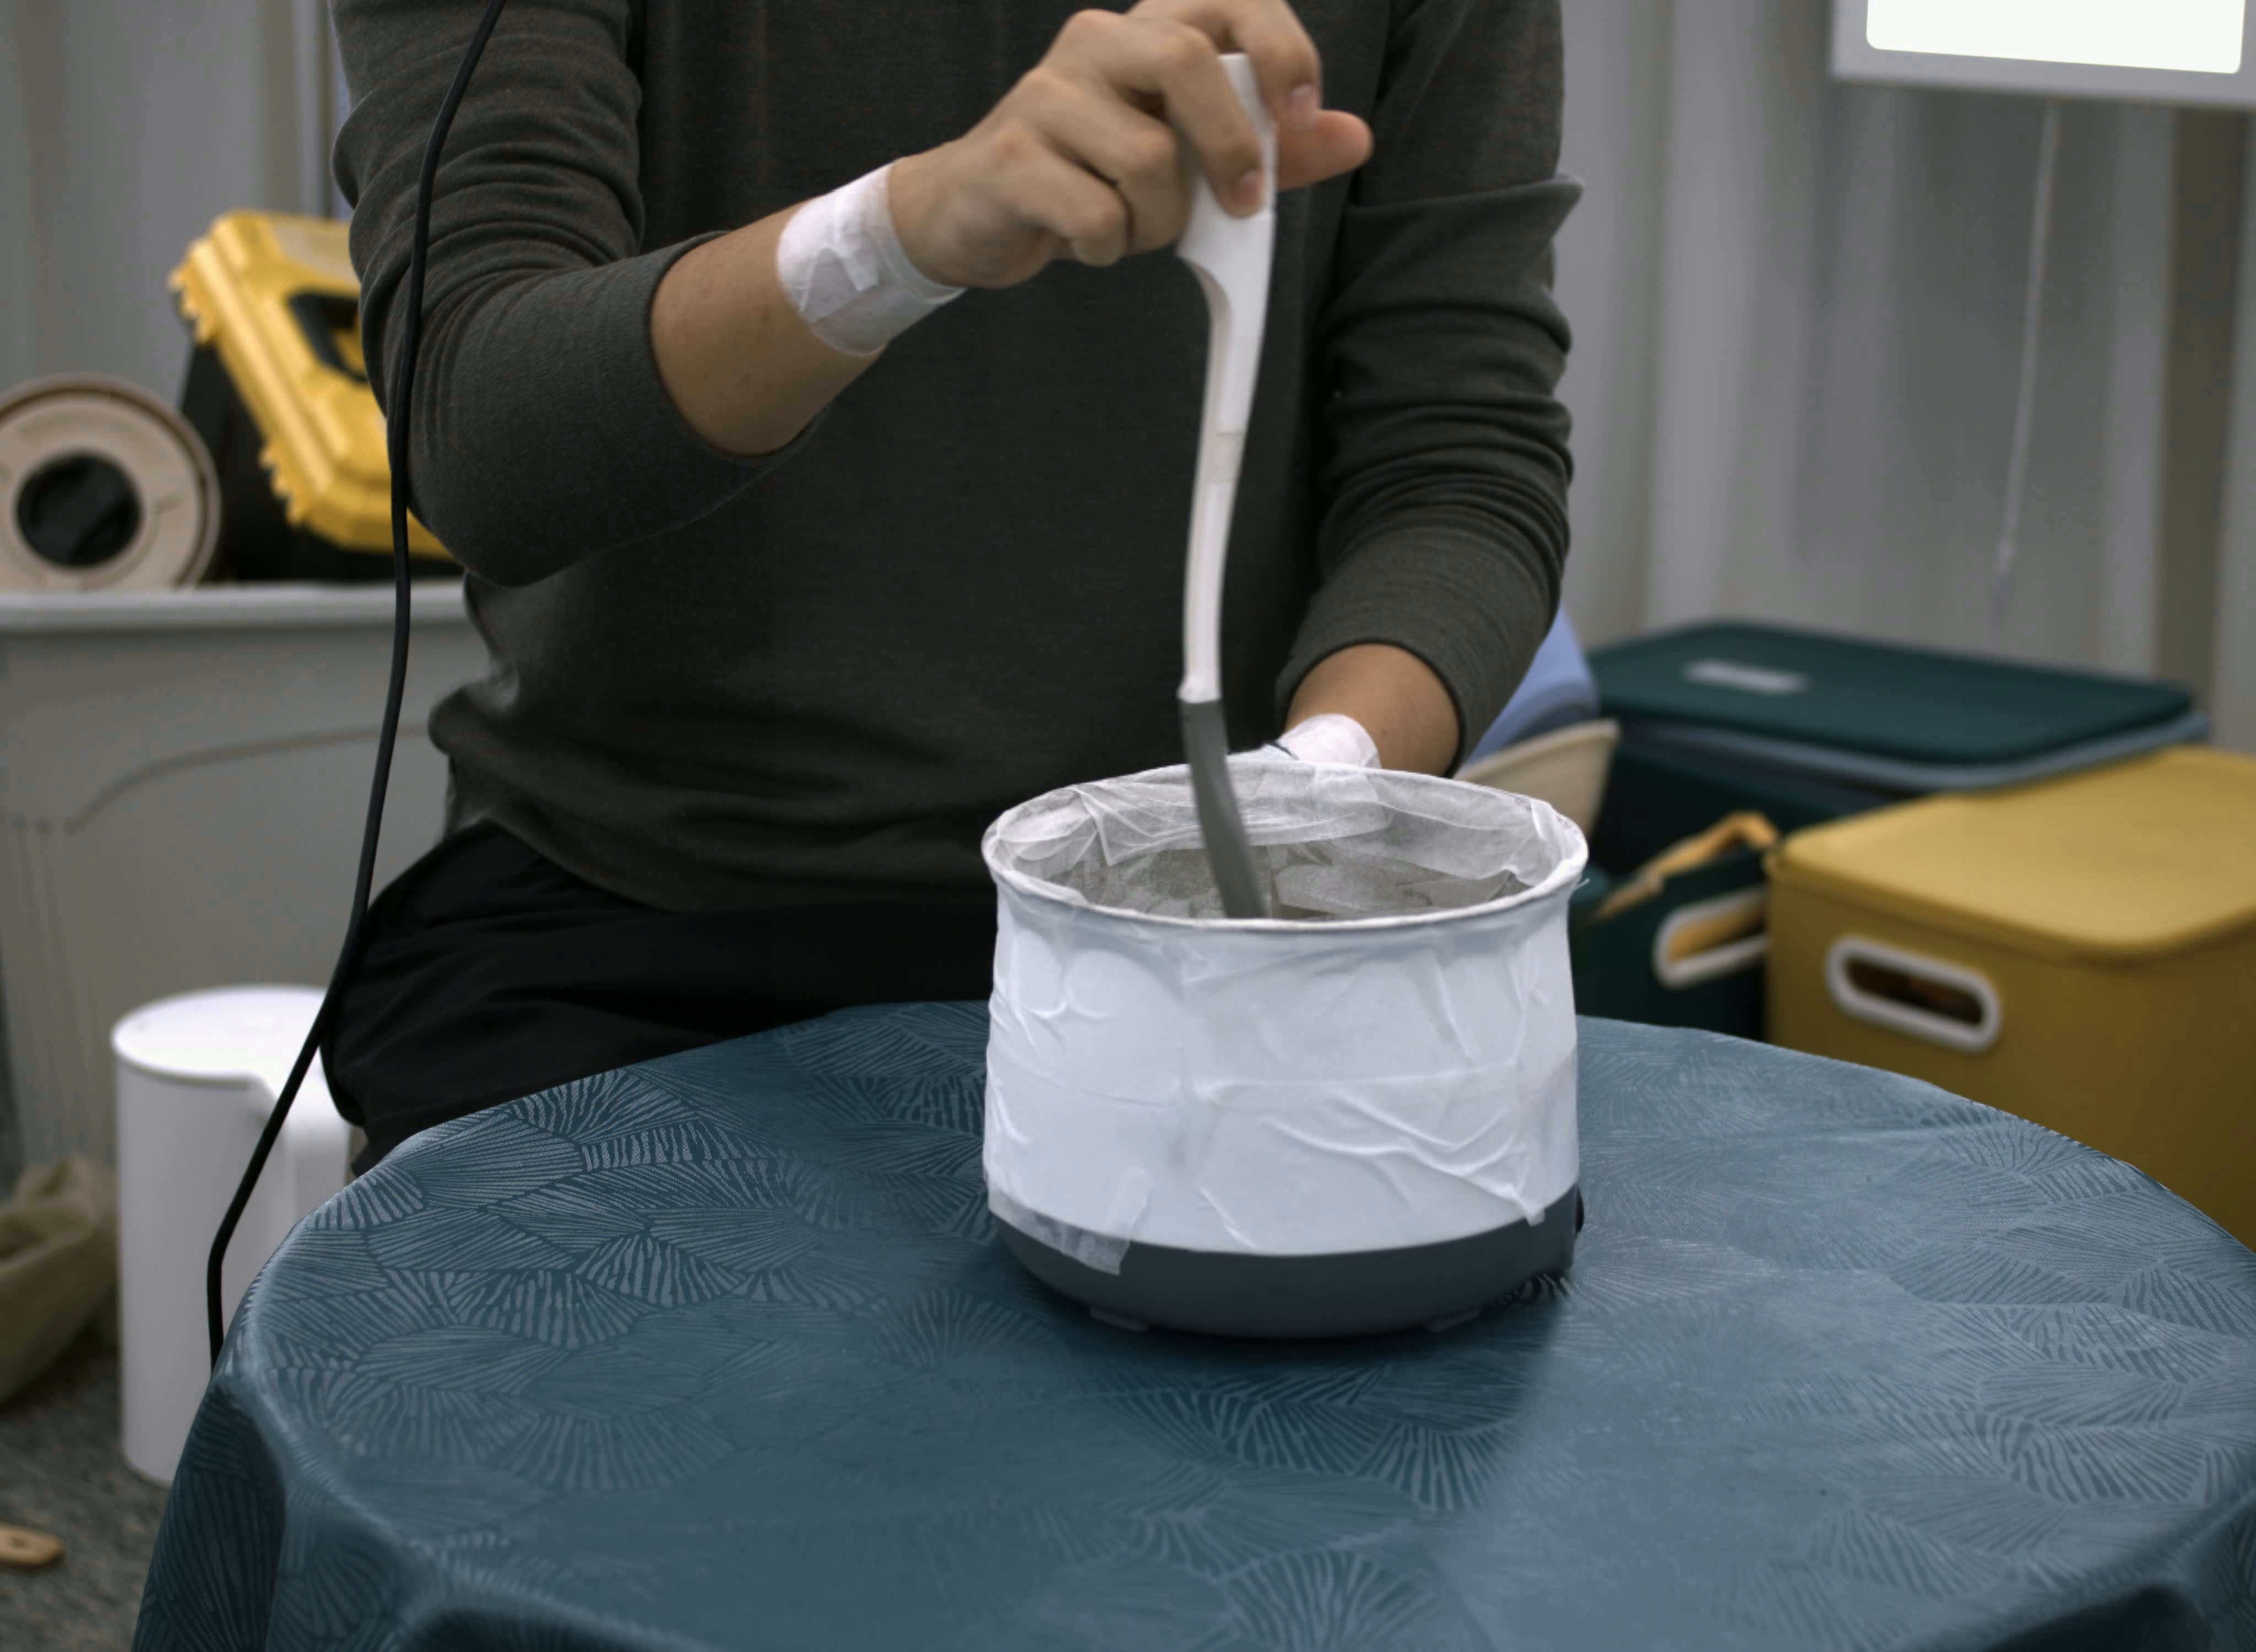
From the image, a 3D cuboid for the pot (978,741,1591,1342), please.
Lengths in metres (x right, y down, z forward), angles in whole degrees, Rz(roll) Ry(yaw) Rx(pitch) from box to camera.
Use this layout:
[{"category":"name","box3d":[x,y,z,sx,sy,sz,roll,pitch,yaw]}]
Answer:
[{"category":"pot","box3d":[0.044,0.058,1.567,0.178,0.138,0.232,0,15,-3]}]

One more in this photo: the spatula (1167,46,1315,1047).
[{"category":"spatula","box3d":[0.033,-0.072,1.473,0.032,0.289,0.058,-5,9,-14]}]
